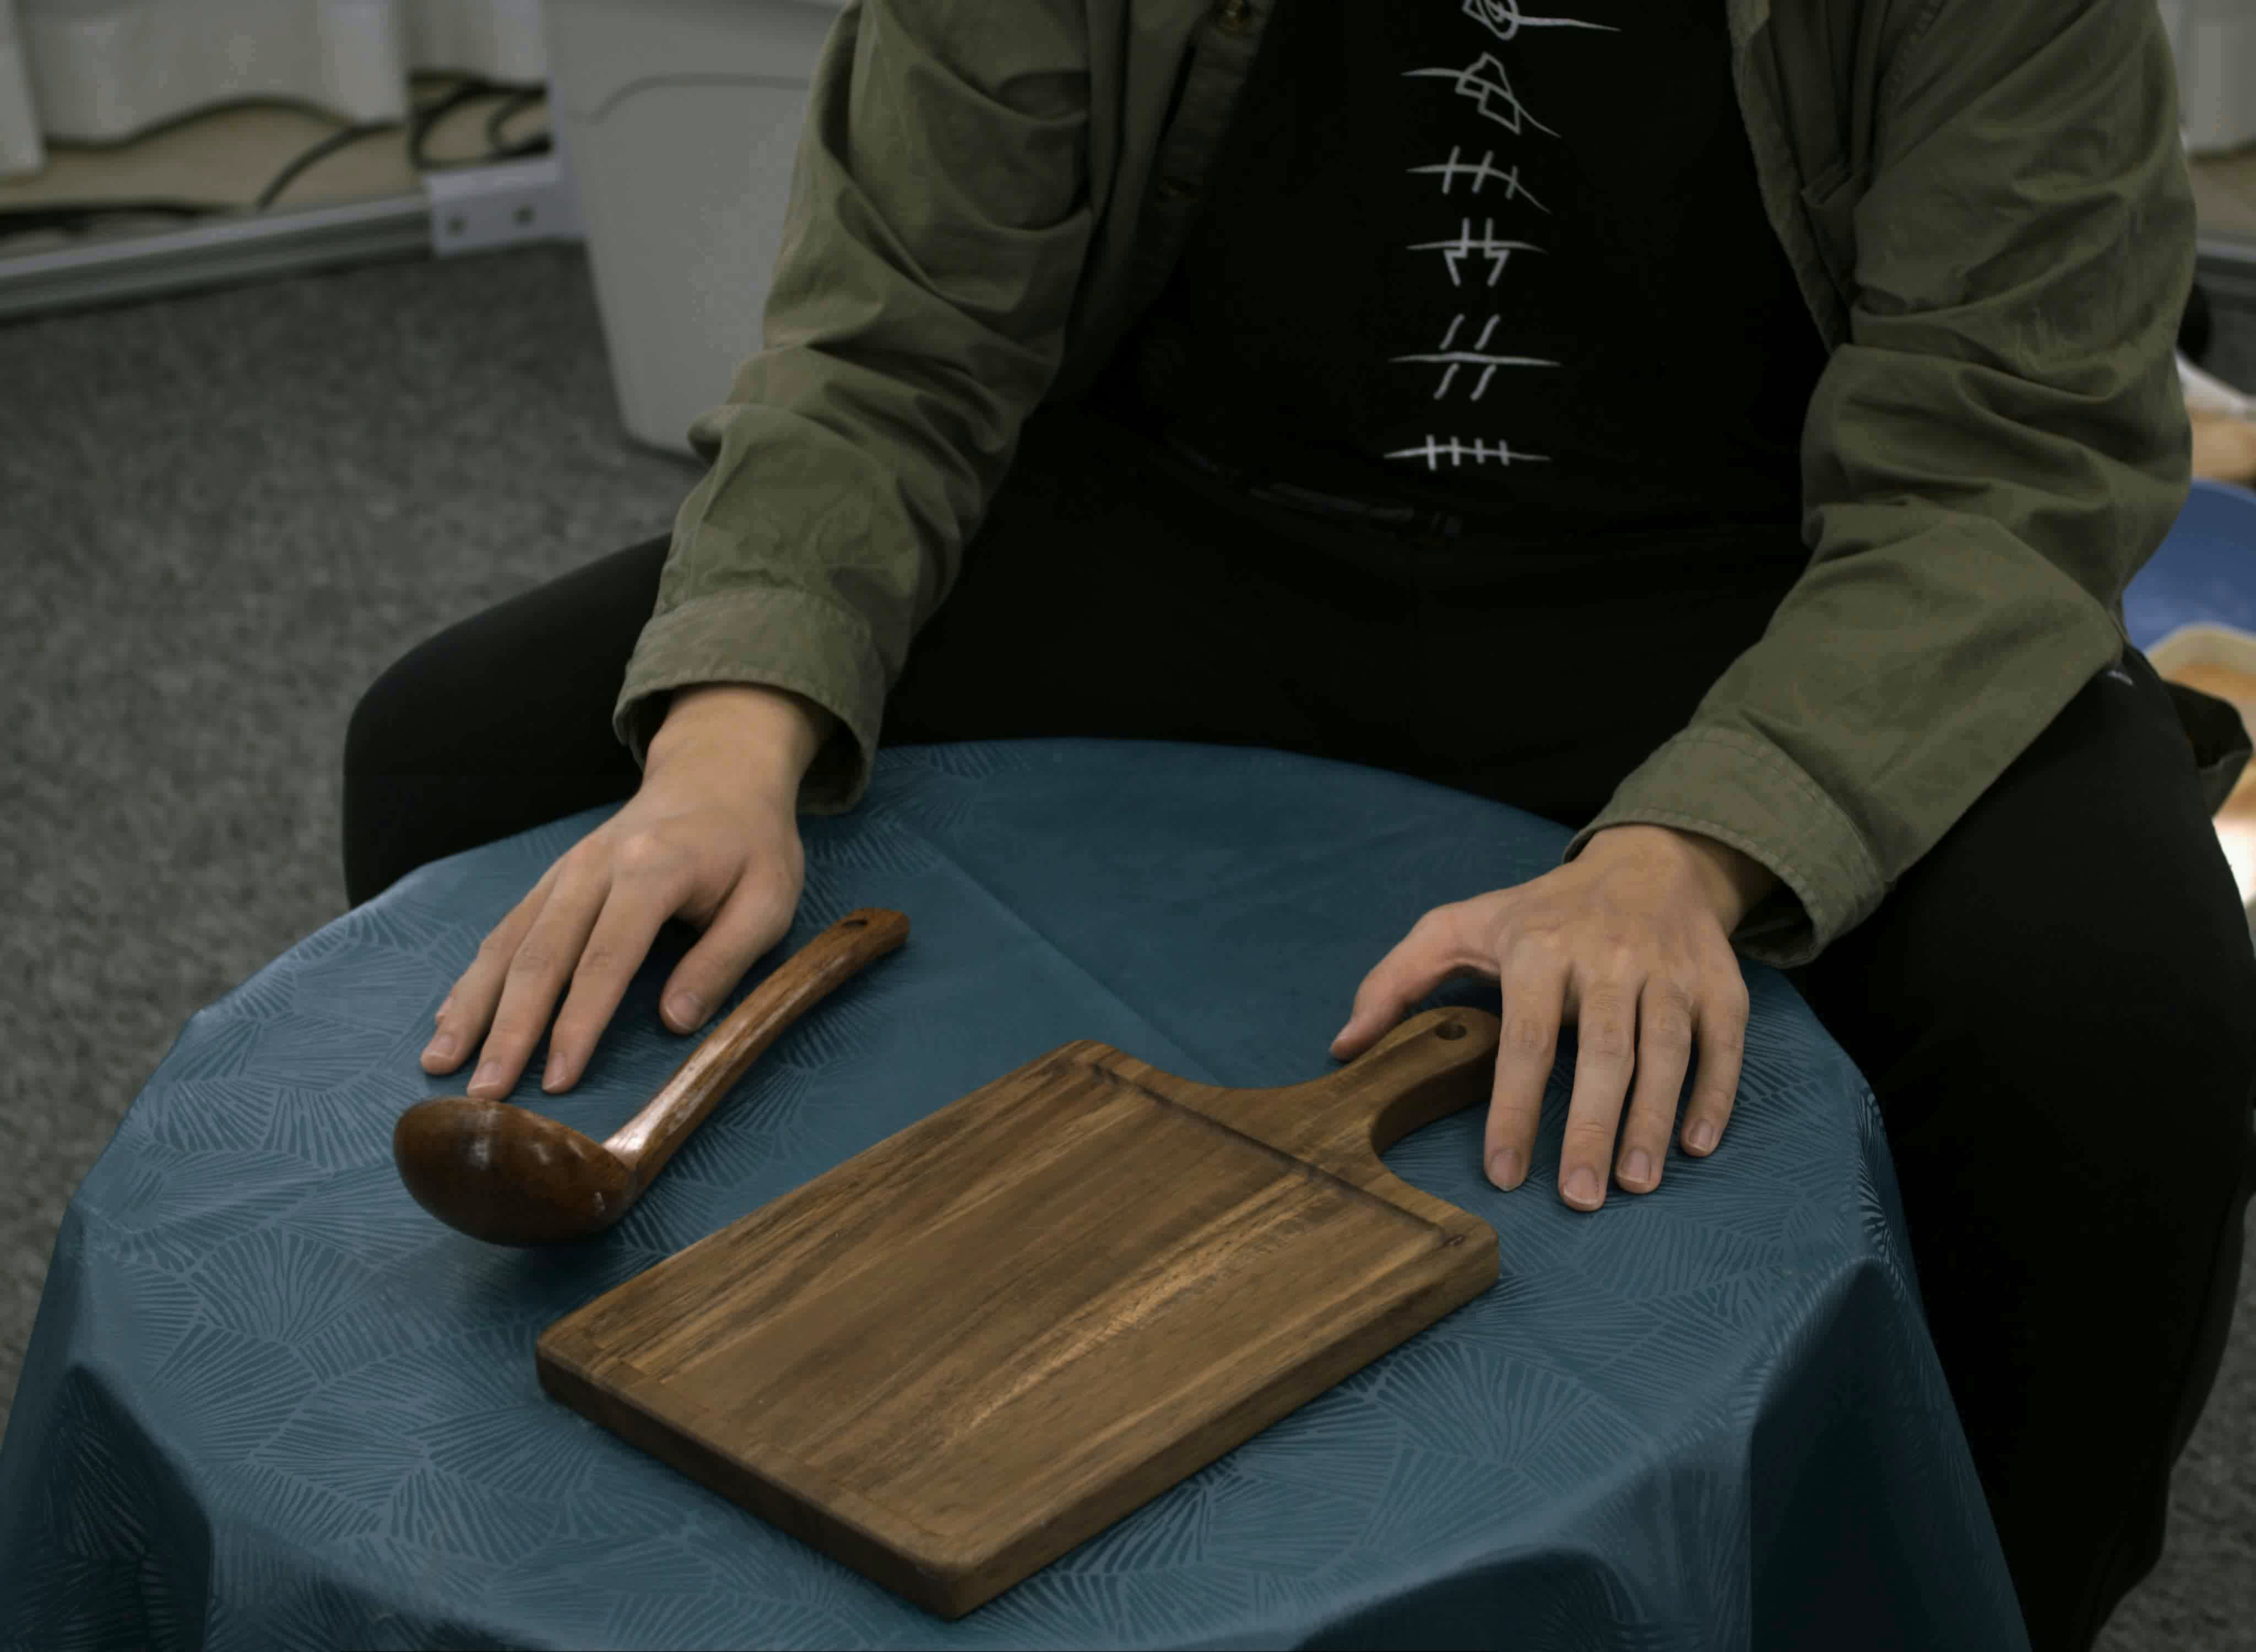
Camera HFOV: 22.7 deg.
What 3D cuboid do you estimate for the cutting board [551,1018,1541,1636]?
[{"bbox_3d":[0.009,0.139,1.798,0.356,0.023,0.201,-26,35,-37],"label":"cutting board"}]

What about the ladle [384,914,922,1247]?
[{"bbox_3d":[-0.153,0.065,1.900,0.081,0.076,0.278,6,28,28],"label":"ladle"}]
